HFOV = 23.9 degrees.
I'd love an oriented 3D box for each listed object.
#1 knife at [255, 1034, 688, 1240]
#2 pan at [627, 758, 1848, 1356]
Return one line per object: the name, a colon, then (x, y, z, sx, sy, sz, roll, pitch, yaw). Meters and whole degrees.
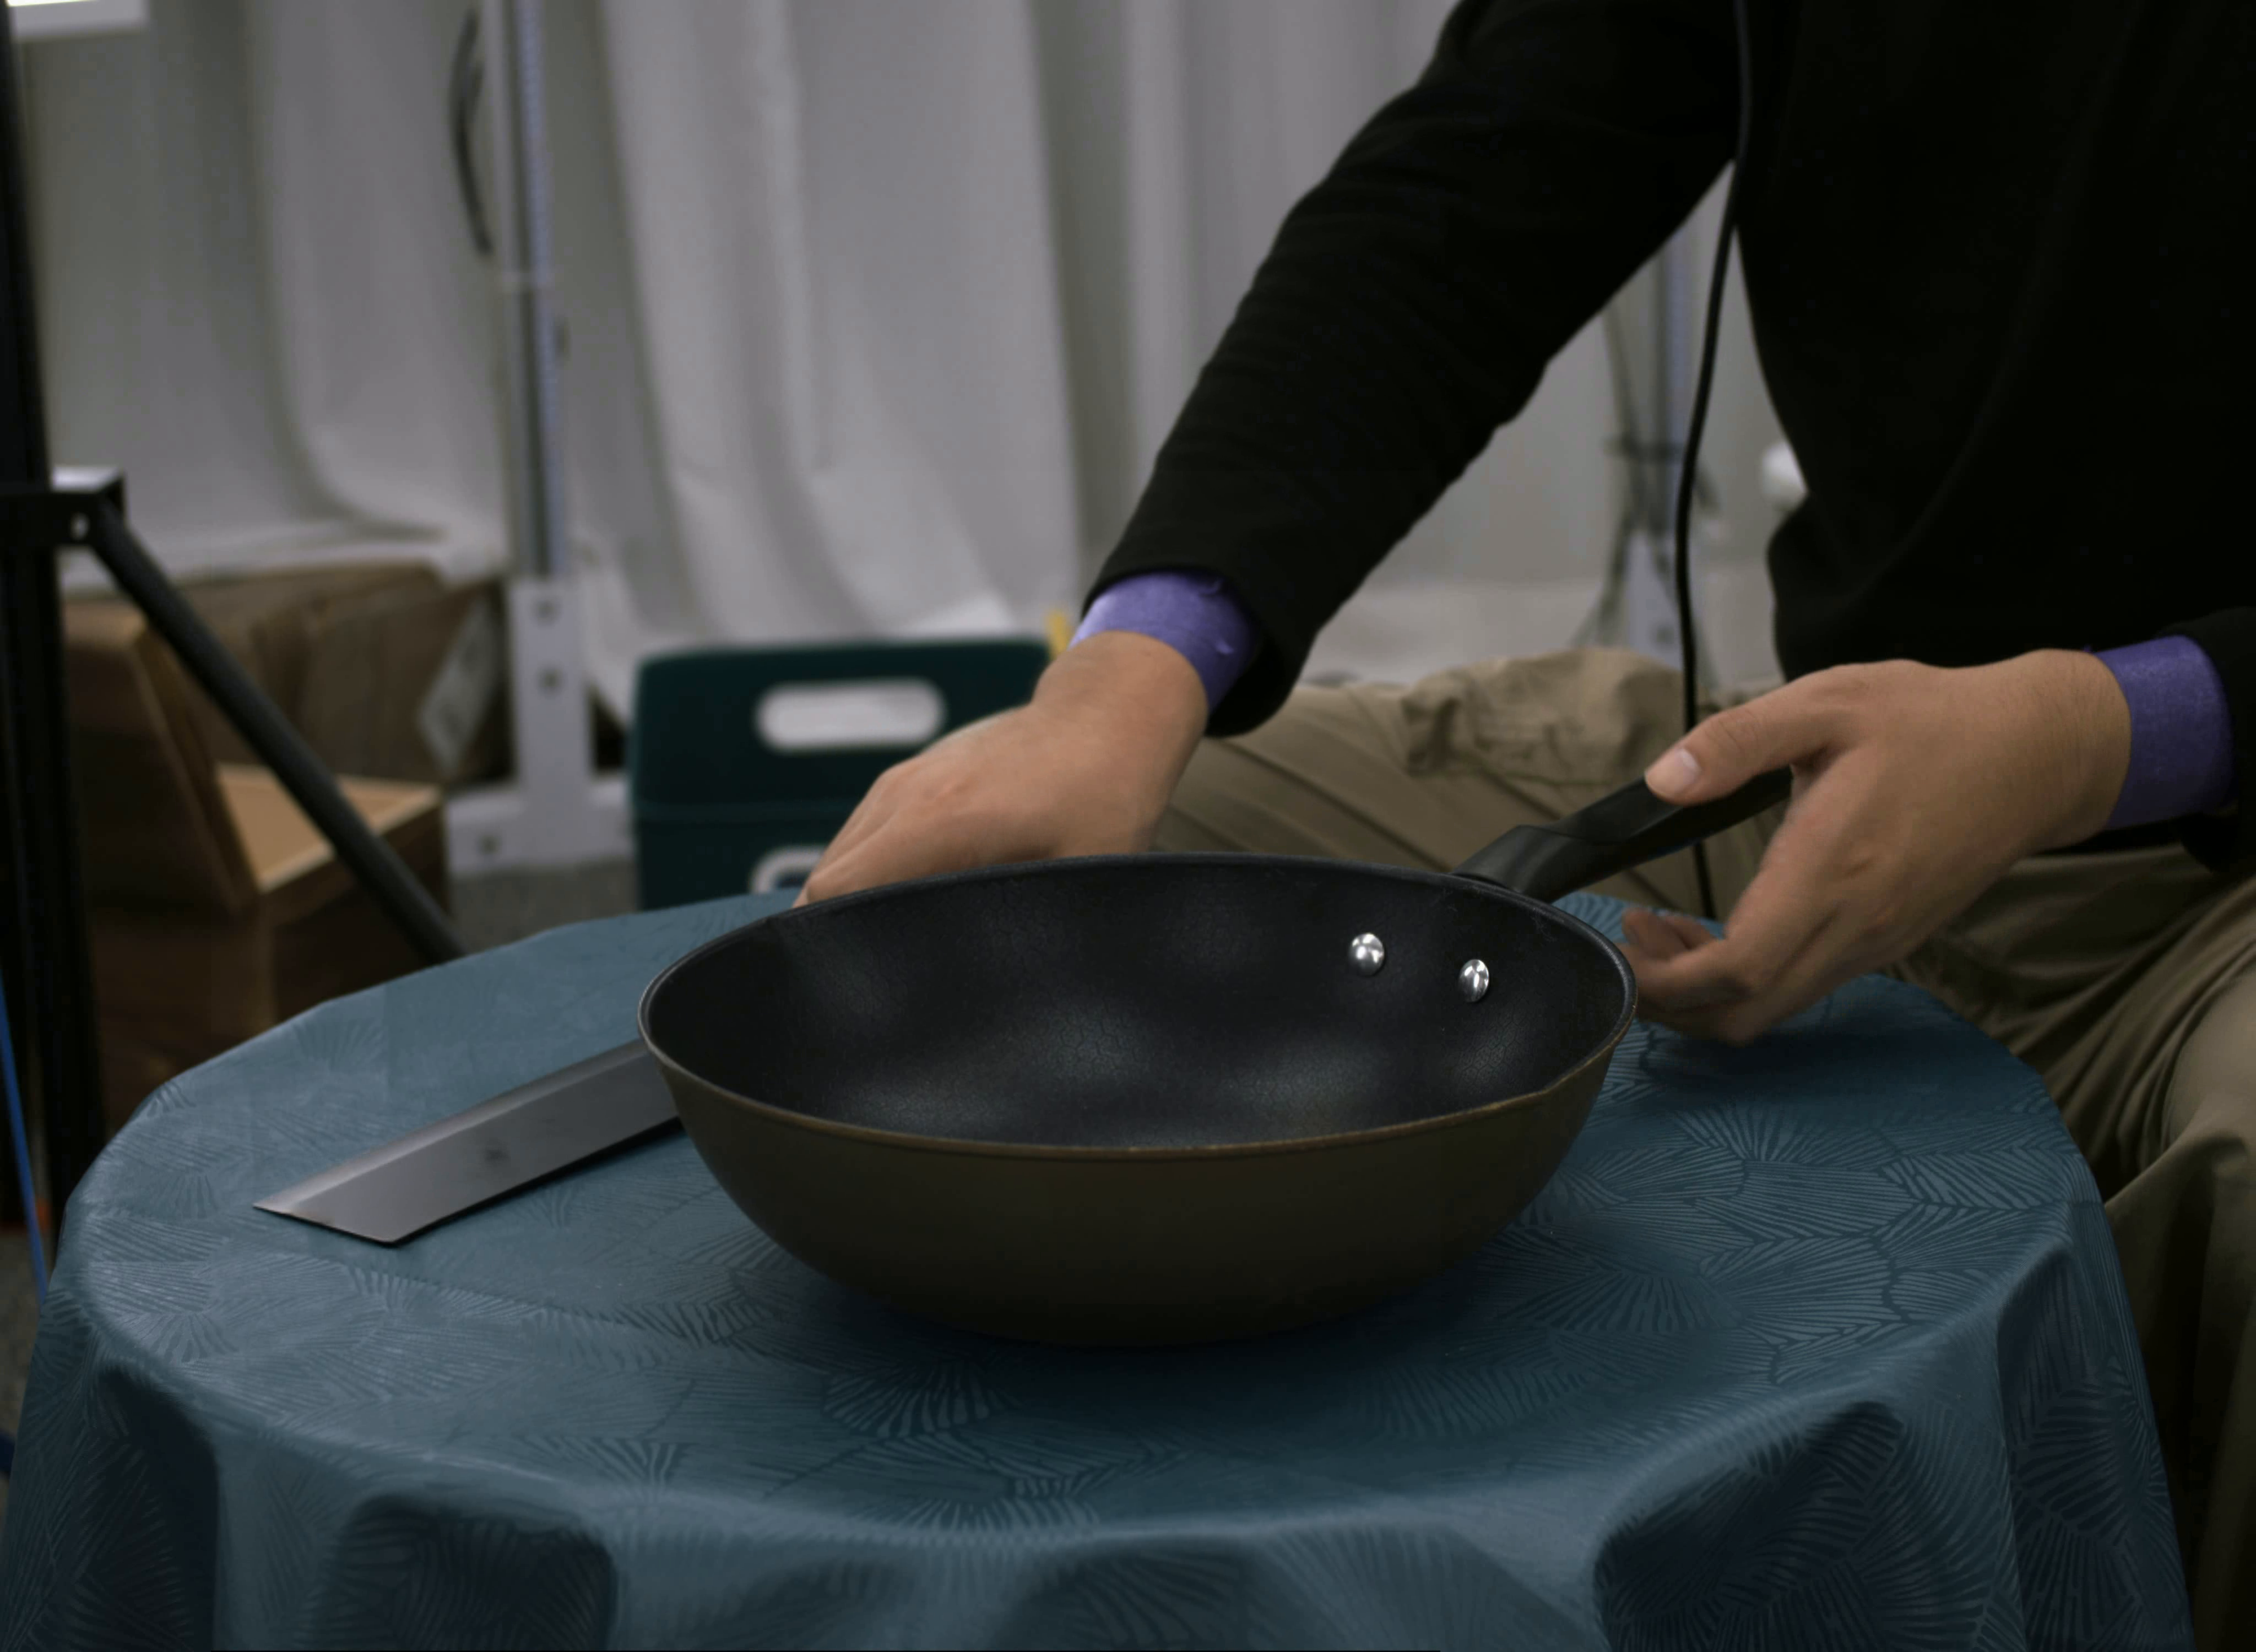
knife: (-0.139, 0.078, 1.661, 0.295, 0.021, 0.083, -19, 23, -40)
pan: (0.062, 0.063, 1.552, 0.294, 0.087, 0.453, 12, 21, 42)
